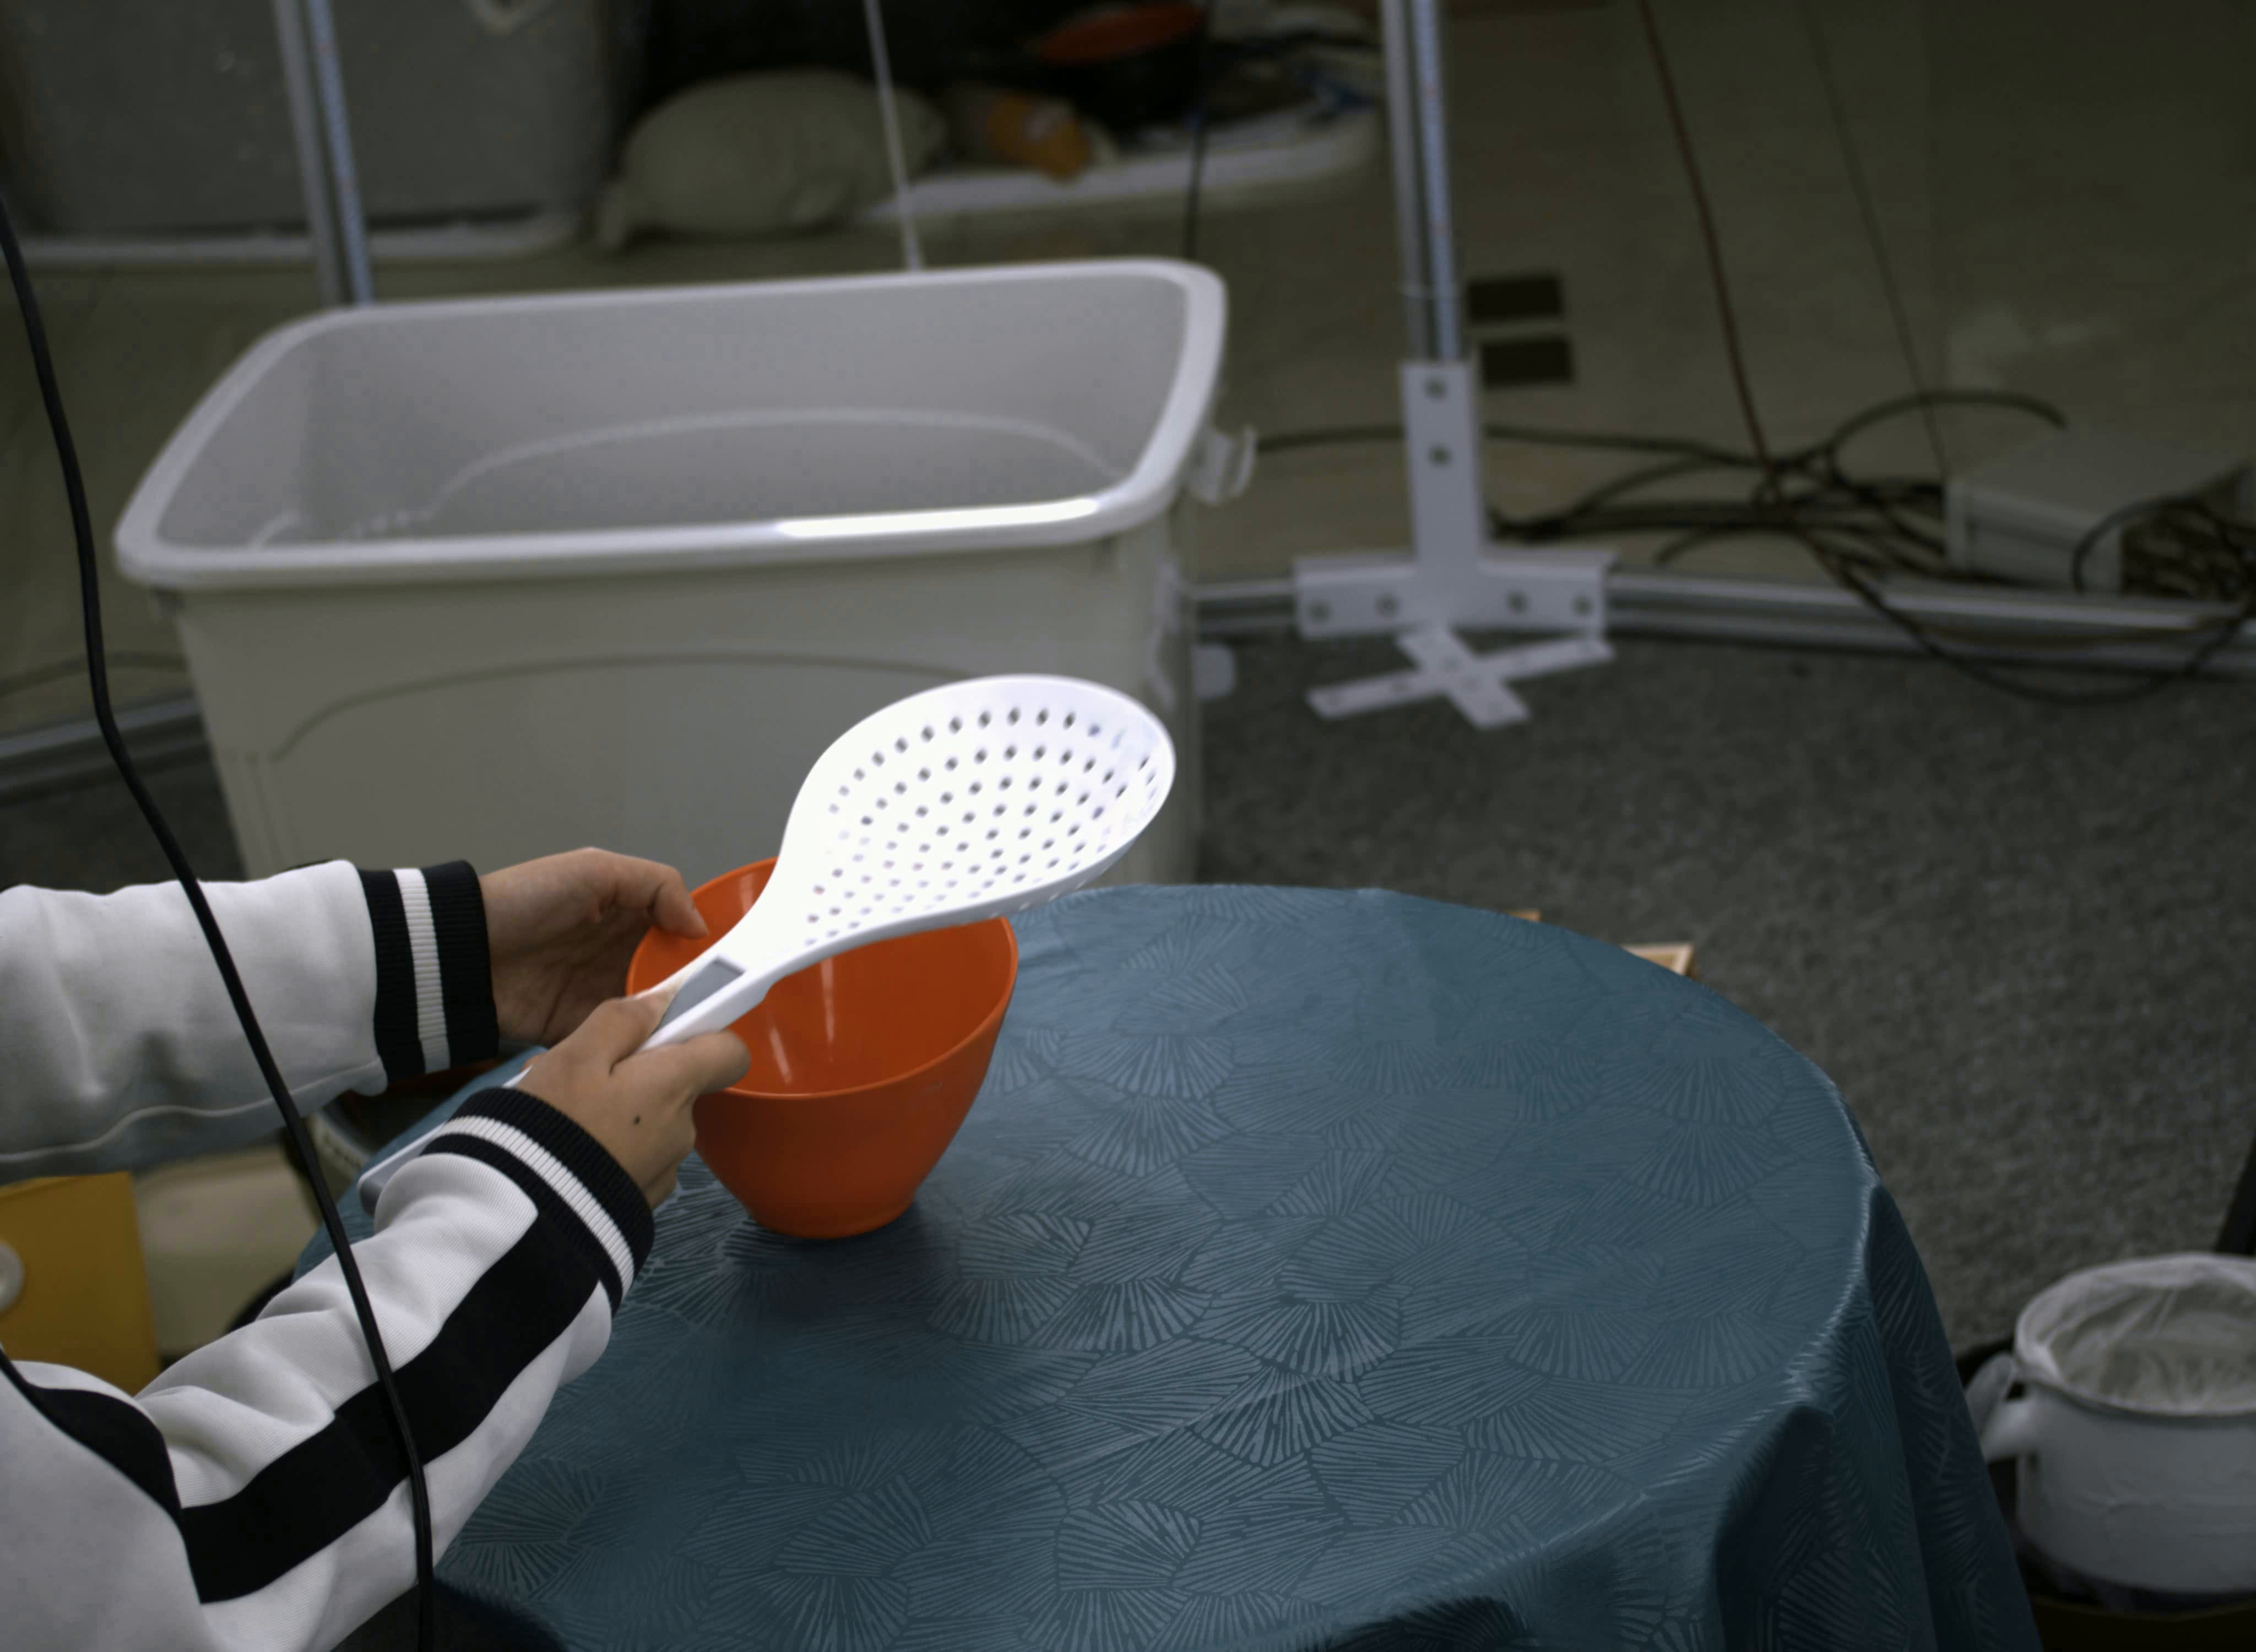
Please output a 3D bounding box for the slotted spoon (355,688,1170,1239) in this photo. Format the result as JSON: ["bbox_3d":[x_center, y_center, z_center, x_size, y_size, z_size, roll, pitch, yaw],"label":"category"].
[{"bbox_3d":[-0.127,0.047,1.977,0.346,0.046,0.135,-30,40,-34],"label":"slotted spoon"}]

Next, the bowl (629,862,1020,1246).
[{"bbox_3d":[-0.113,0.092,2.142,0.148,0.106,0.145,-1,29,1],"label":"bowl"}]
